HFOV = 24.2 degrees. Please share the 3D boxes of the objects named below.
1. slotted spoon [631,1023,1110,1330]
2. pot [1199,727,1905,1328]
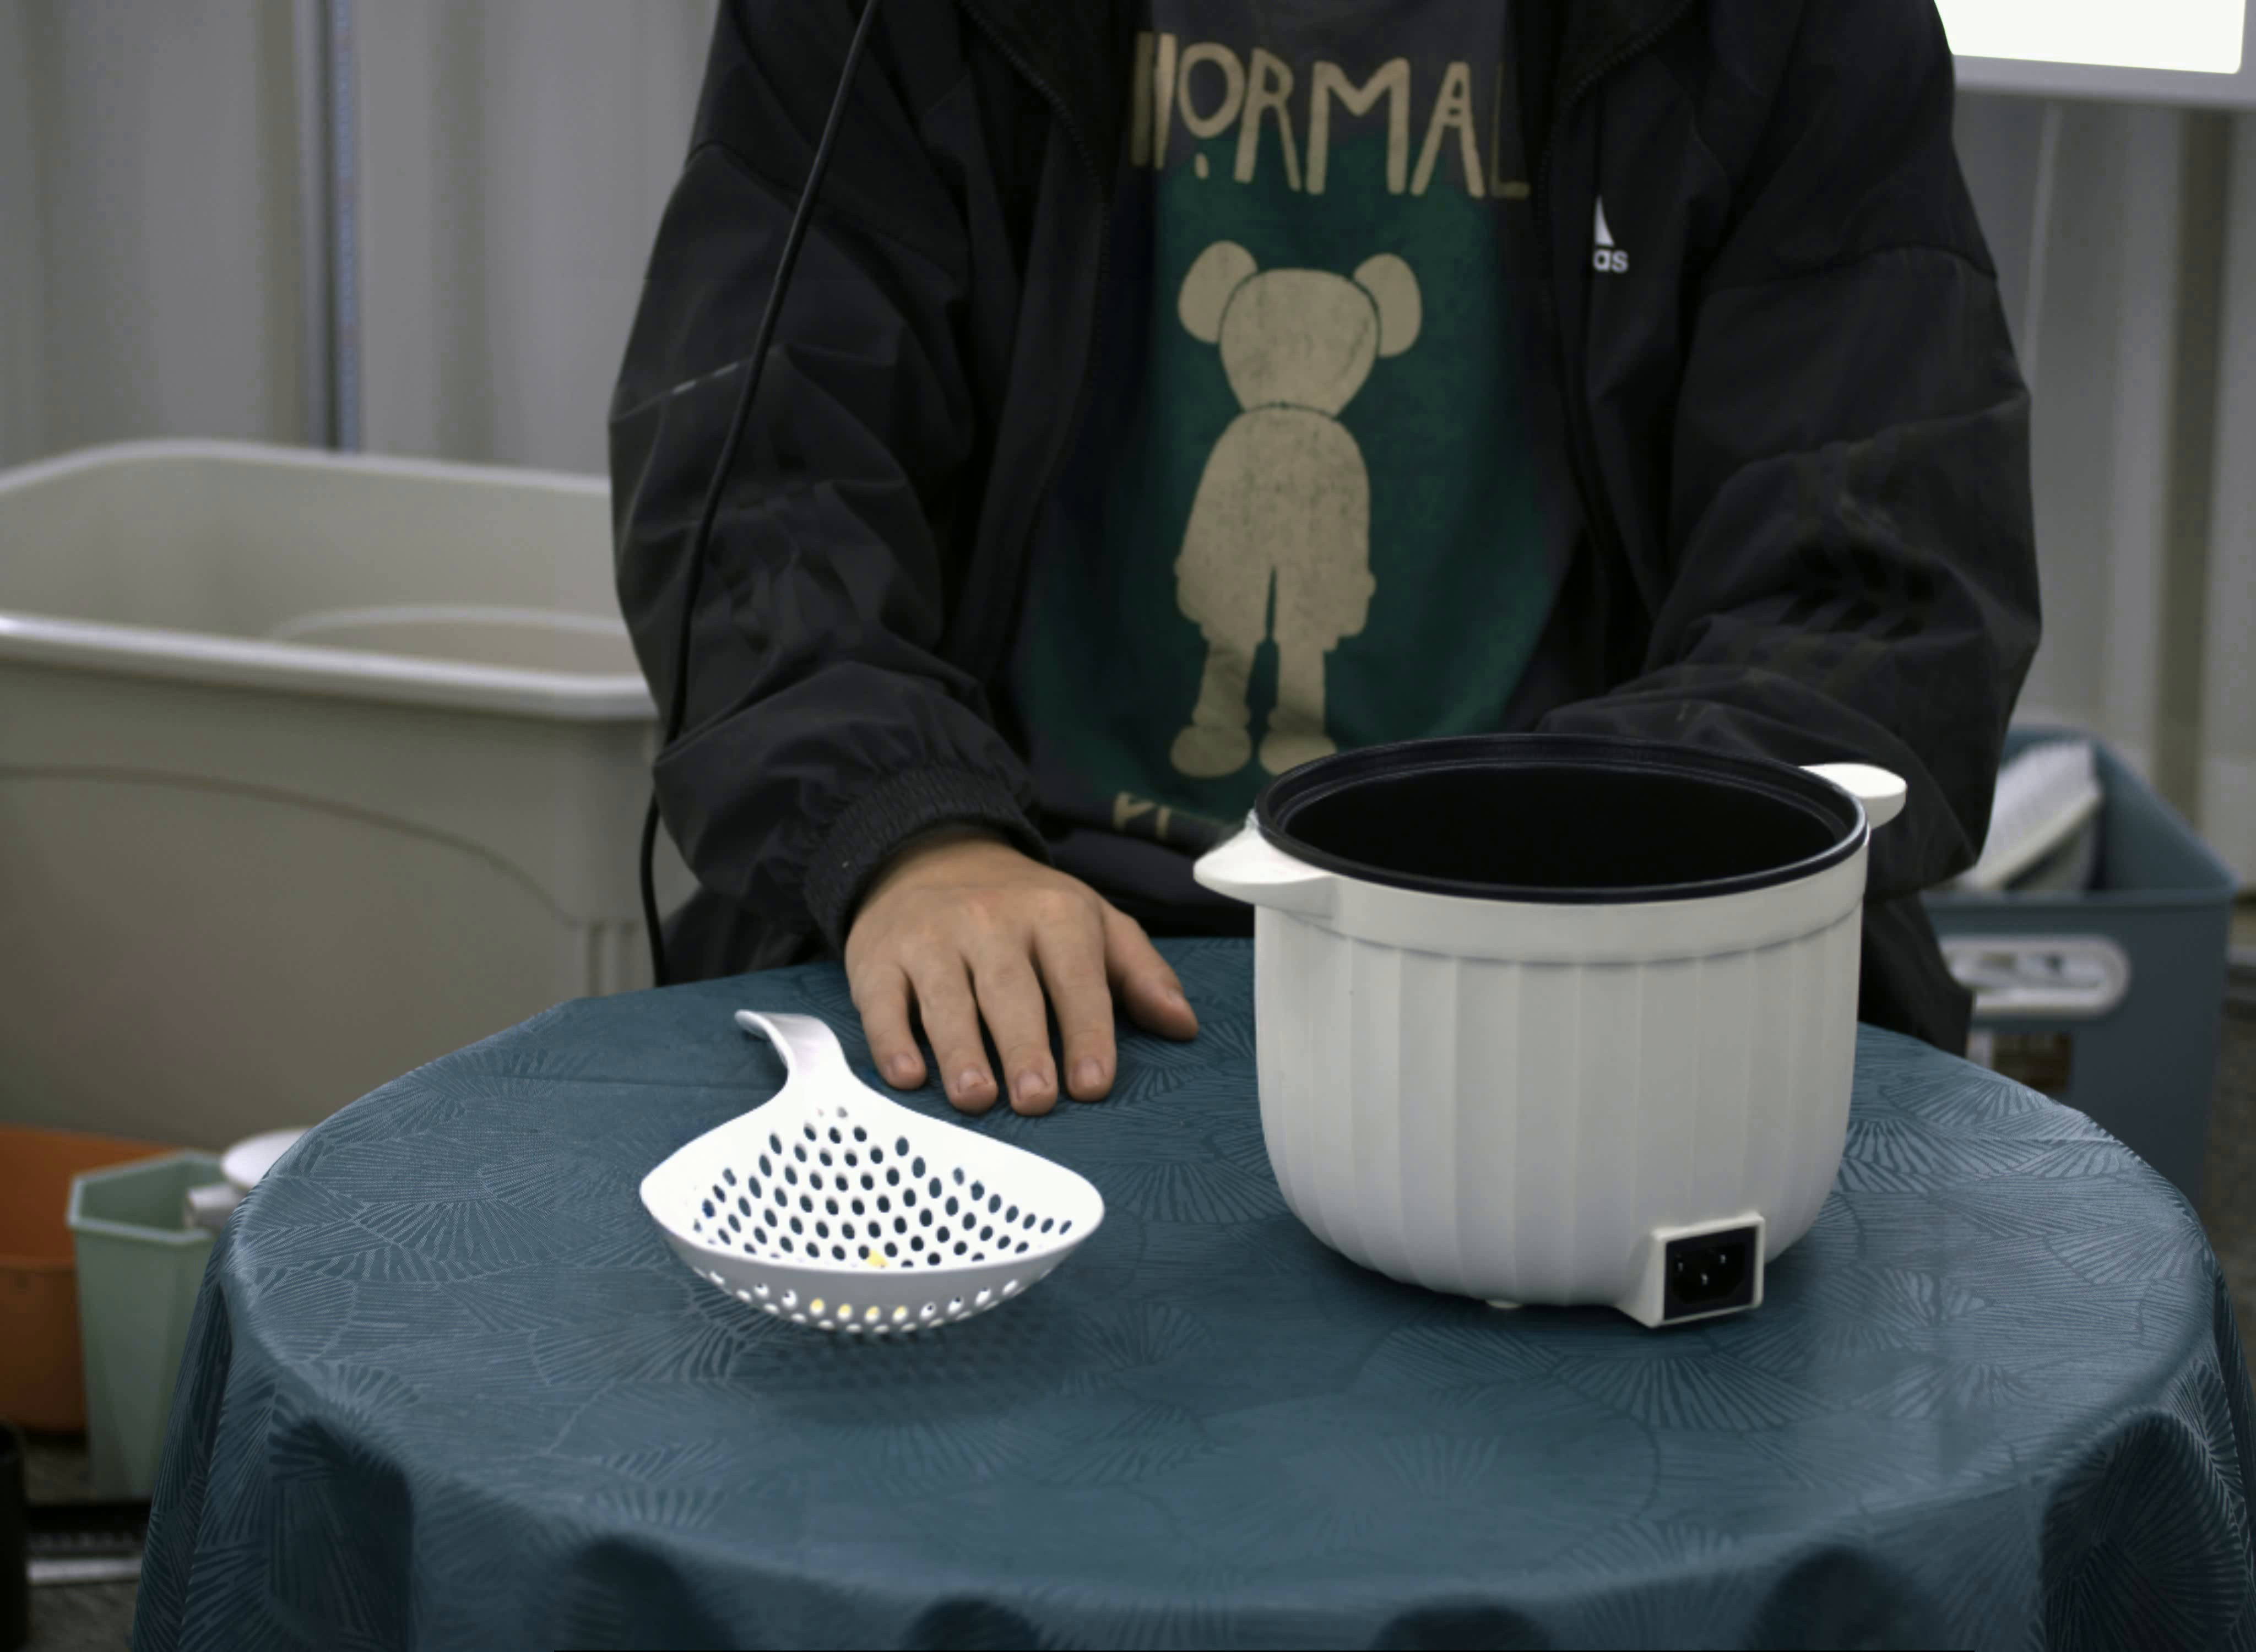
[{"bbox_3d":[-0.093,0.093,1.612,0.137,0.051,0.345,-2,16,-10],"label":"slotted spoon"},{"bbox_3d":[0.123,0.057,1.569,0.241,0.144,0.188,-7,20,-28],"label":"pot"}]
